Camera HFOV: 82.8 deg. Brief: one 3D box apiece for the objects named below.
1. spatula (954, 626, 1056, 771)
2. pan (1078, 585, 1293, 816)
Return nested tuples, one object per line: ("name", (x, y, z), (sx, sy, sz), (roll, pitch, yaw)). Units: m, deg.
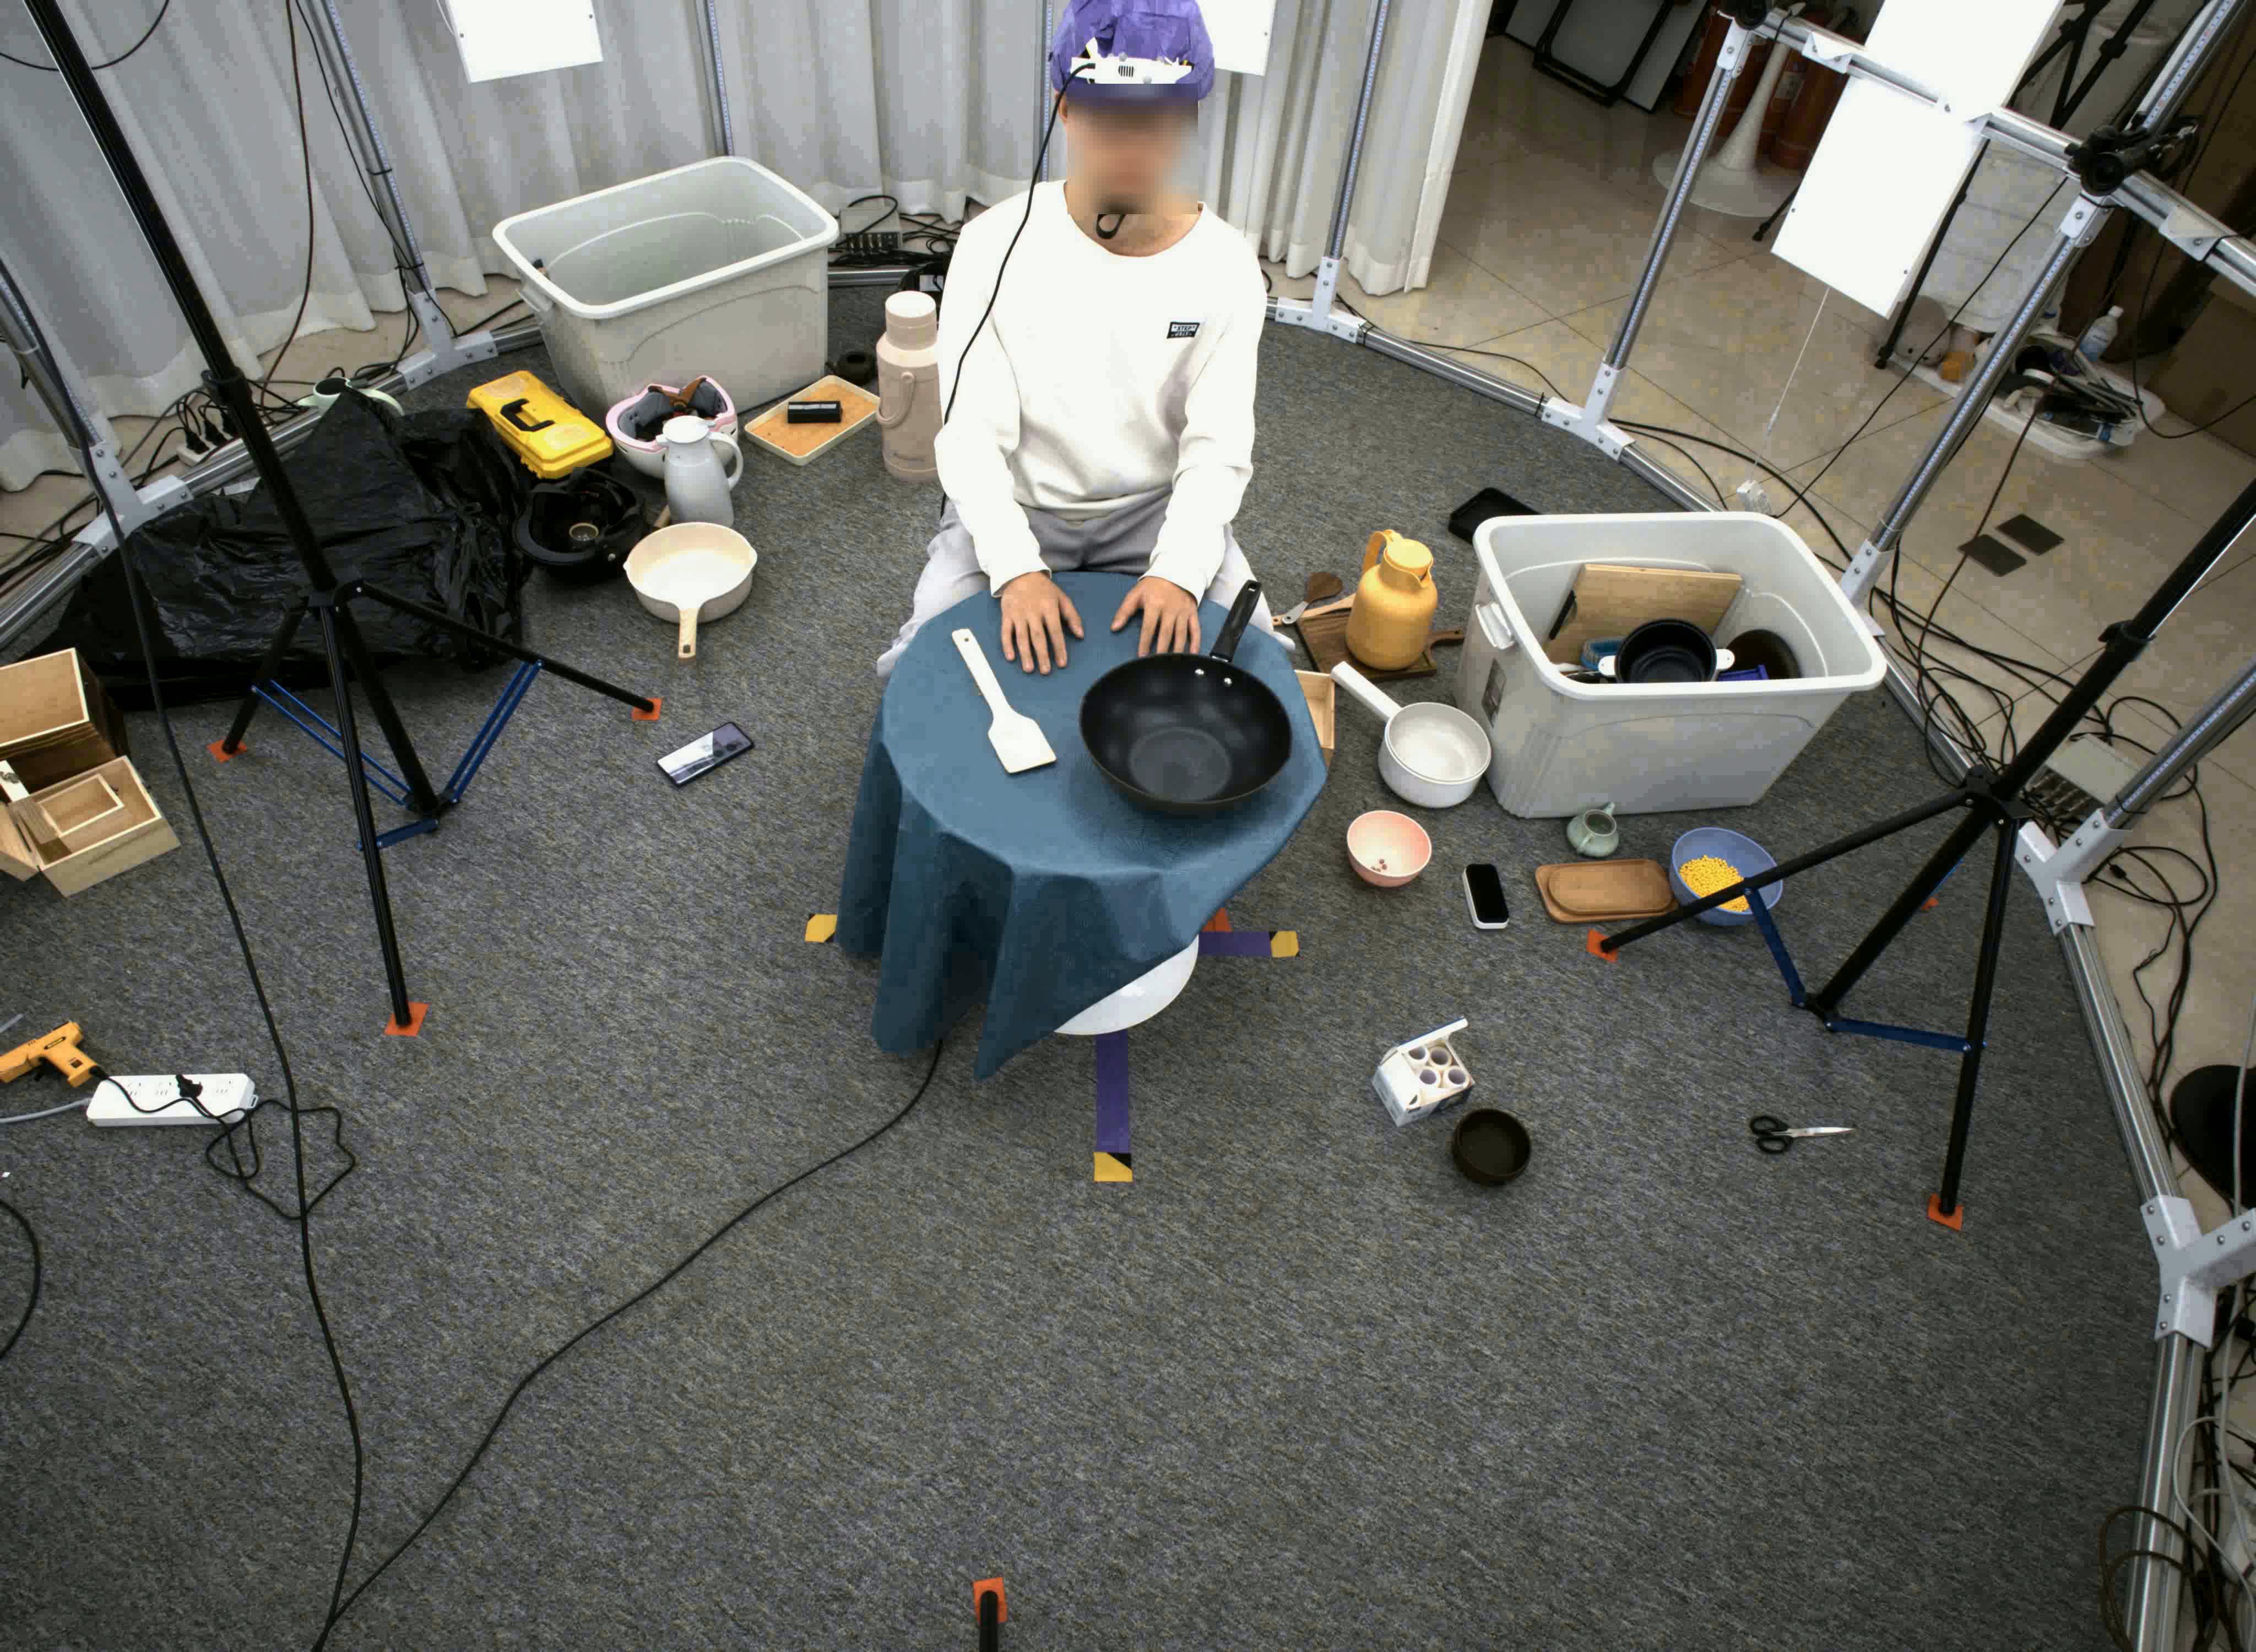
("spatula", (-0.187, -0.186, 1.806), (0.072, 0.010, 0.300), (-17, 52, -17))
("pan", (0.105, -0.173, 1.769), (0.289, 0.085, 0.472), (18, 49, 11))
